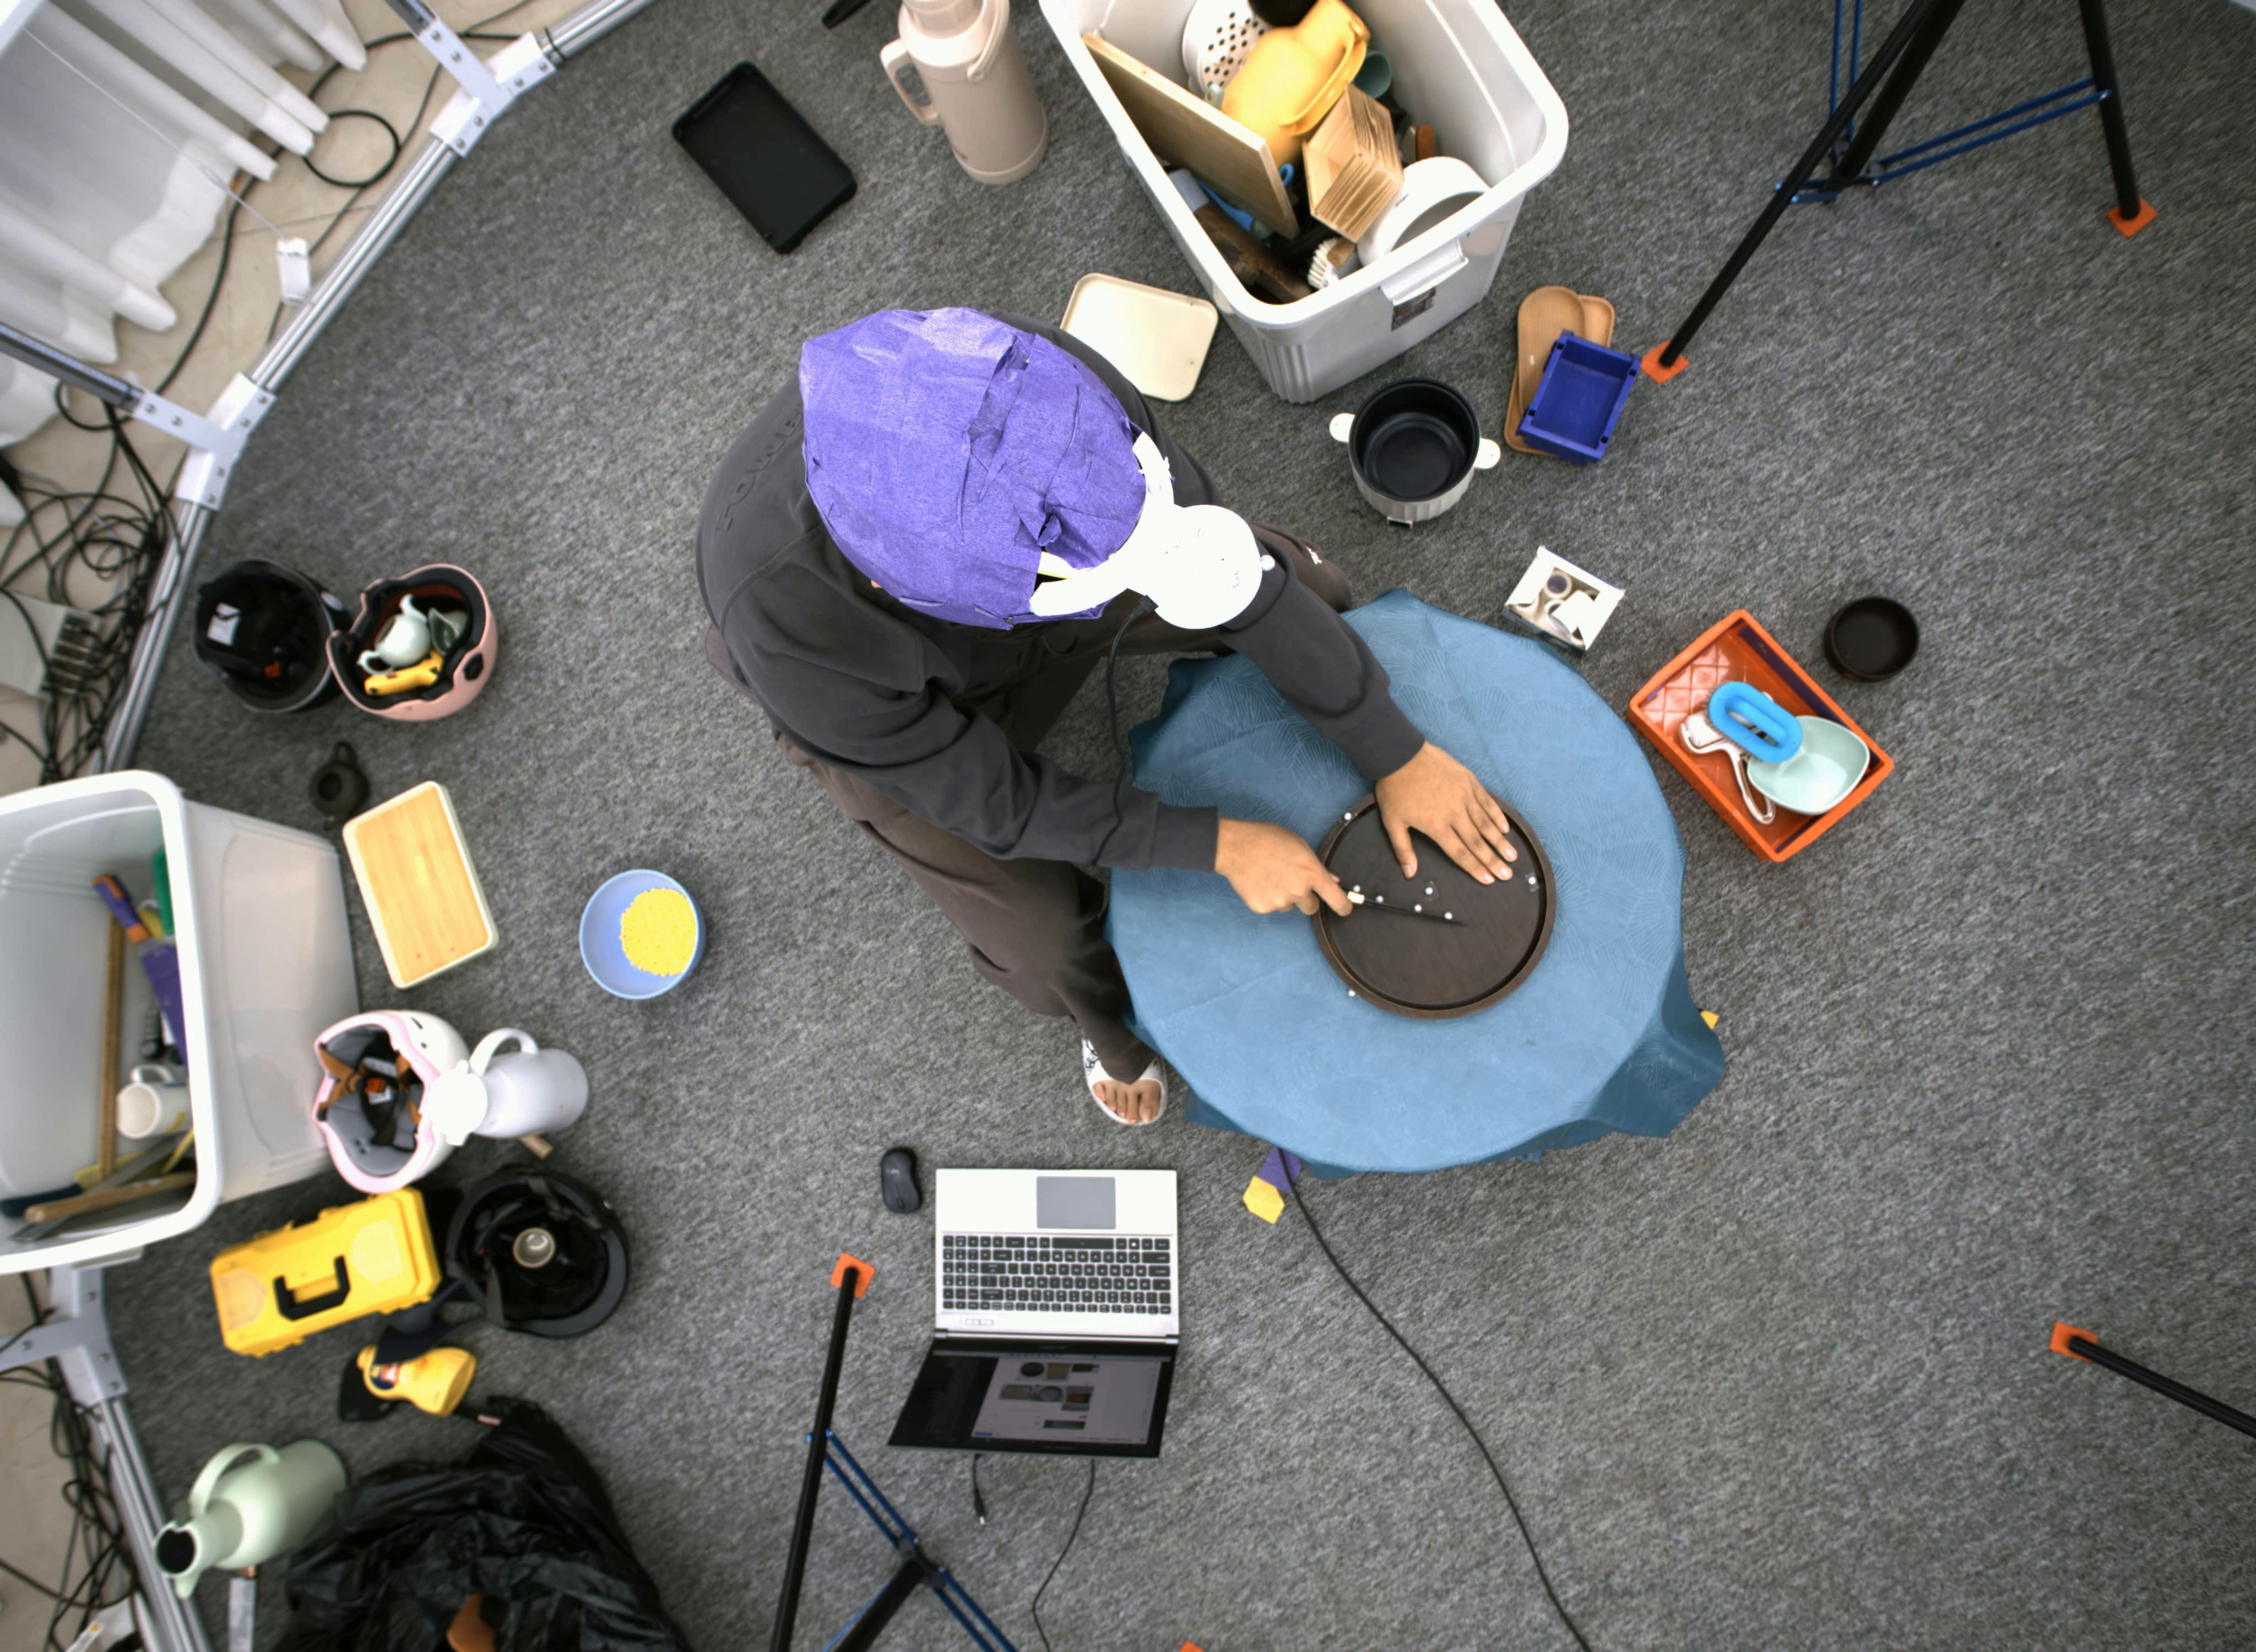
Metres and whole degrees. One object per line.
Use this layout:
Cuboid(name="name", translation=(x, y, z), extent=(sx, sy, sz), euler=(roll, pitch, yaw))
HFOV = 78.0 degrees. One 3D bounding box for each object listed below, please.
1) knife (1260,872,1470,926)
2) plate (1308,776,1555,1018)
Cuboid(name="knife", translation=(0.247, 0.077, 1.437), extent=(0.226, 0.026, 0.017), euler=(12, 81, 3))
Cuboid(name="plate", translation=(0.316, 0.072, 1.440), extent=(0.256, 0.029, 0.253), euler=(-1, 86, 12))
